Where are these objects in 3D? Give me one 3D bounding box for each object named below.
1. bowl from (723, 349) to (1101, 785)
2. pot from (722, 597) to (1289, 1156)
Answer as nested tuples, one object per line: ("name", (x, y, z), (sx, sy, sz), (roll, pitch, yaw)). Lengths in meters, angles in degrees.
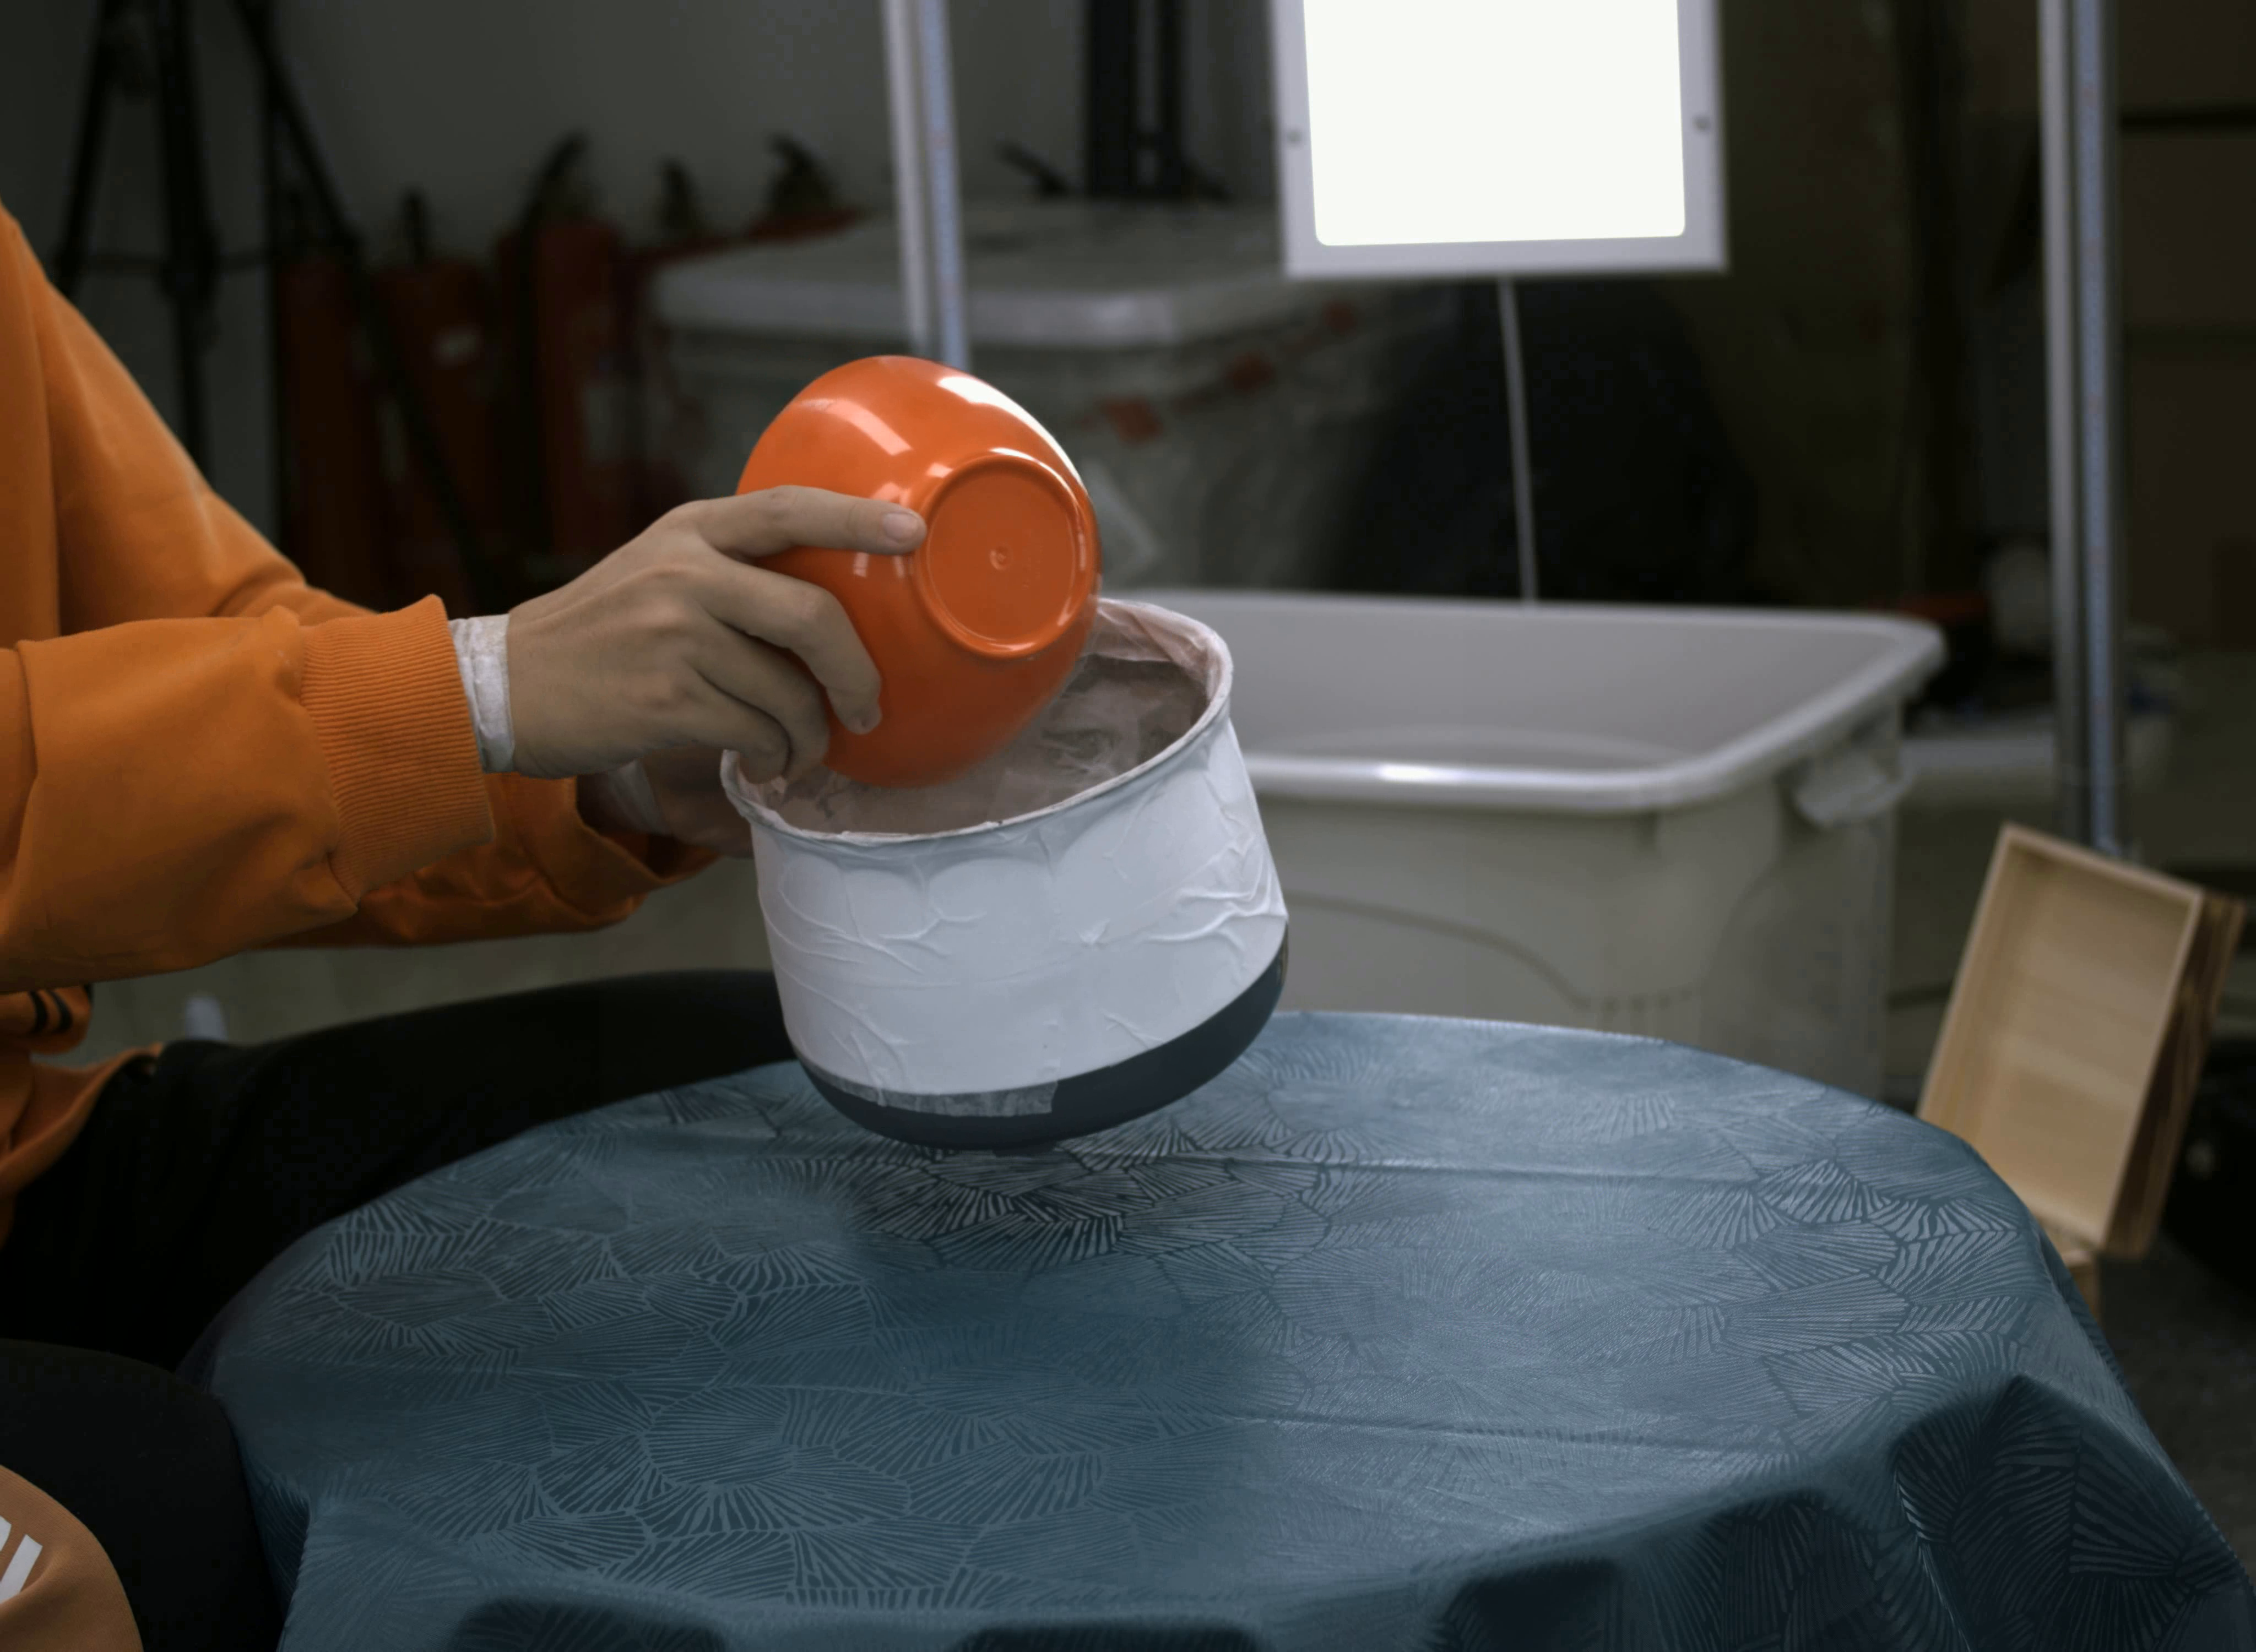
("bowl", (-0.056, -0.088, 1.828), (0.144, 0.148, 0.107), (-12, 6, -29))
("pot", (-0.055, 0.012, 1.895), (0.175, 0.137, 0.238), (-28, 29, -29))
